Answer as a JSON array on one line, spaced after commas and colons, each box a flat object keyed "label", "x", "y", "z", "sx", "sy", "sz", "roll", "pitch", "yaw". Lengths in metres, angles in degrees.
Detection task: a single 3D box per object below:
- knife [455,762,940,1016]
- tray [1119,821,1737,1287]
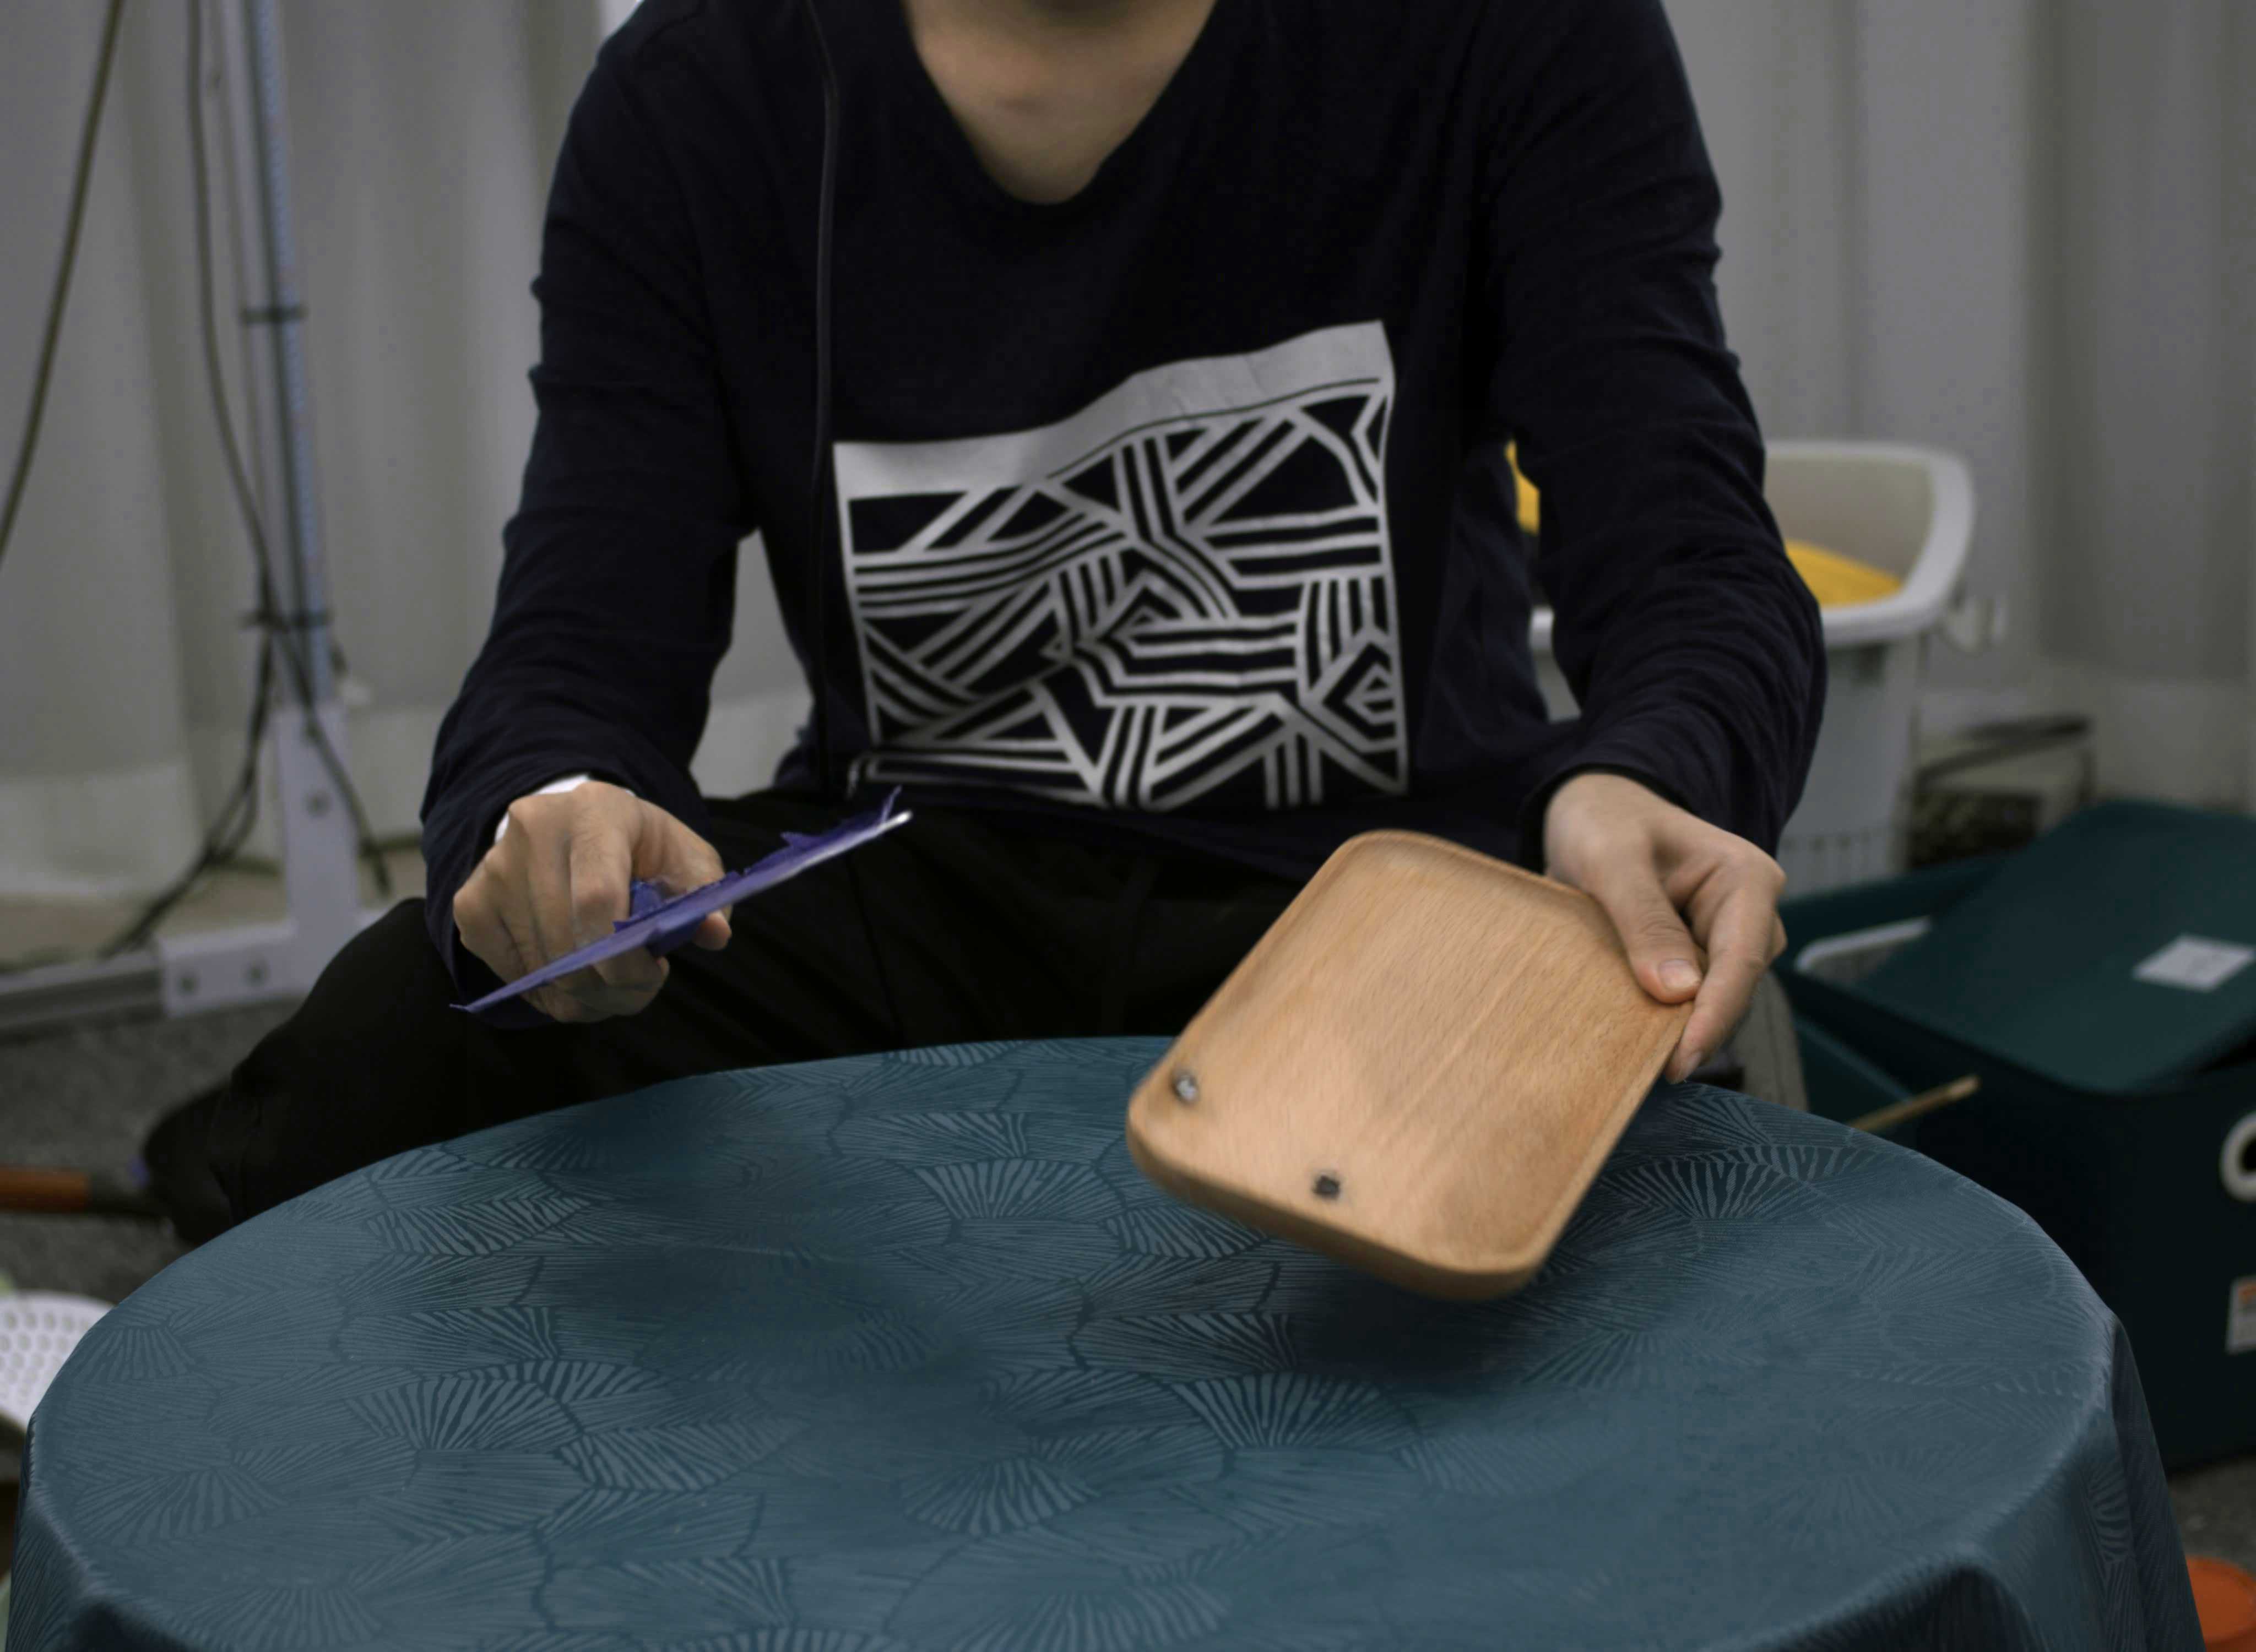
[{"label": "knife", "x": -0.154, "y": 0.028, "z": 1.666, "sx": 0.104, "sy": 0.032, "sz": 0.314, "roll": -25, "pitch": 0, "yaw": -25}, {"label": "tray", "x": 0.092, "y": 0.065, "z": 1.636, "sx": 0.131, "sy": 0.023, "sz": 0.252, "roll": 26, "pitch": 27, "yaw": 14}]
